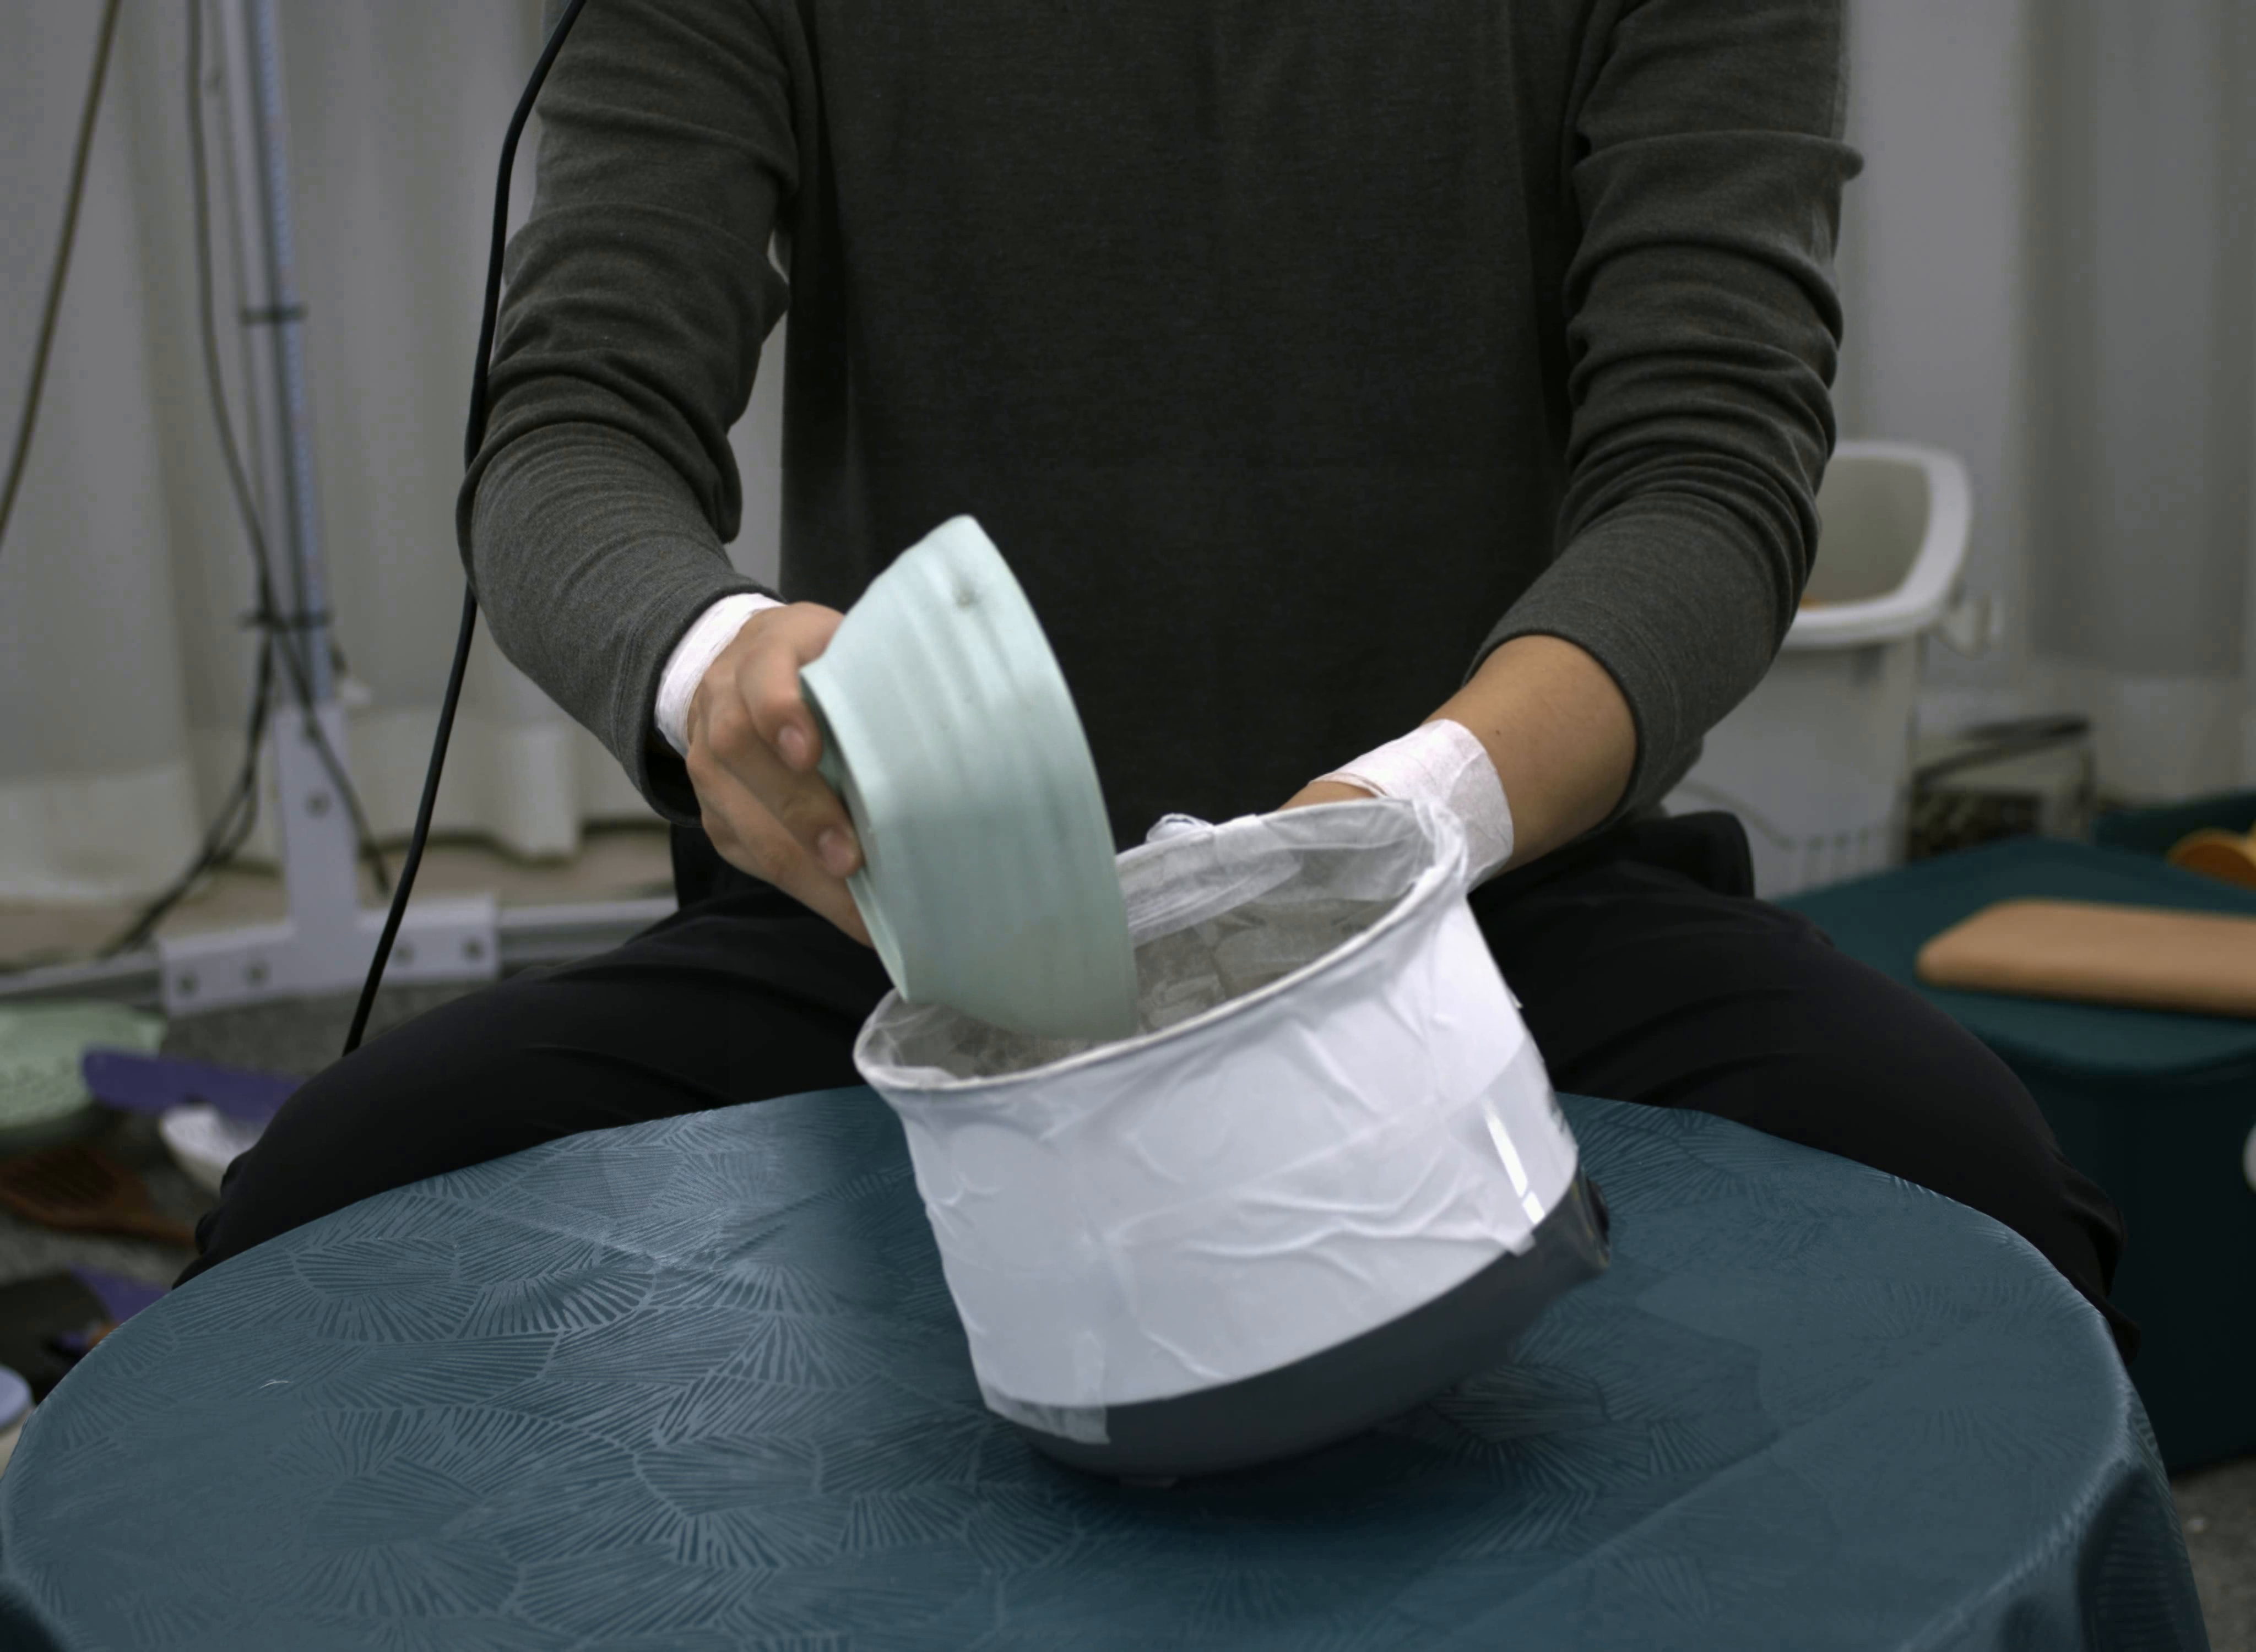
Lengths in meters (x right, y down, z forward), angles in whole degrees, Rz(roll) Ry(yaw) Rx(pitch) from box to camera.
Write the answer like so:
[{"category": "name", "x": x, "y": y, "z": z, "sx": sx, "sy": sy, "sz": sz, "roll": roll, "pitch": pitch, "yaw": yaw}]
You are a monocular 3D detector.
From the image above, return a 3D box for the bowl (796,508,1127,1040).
[{"category": "bowl", "x": -0.050, "y": -0.007, "z": 1.492, "sx": 0.058, "sy": 0.150, "sz": 0.152, "roll": -16, "pitch": 16, "yaw": -9}]

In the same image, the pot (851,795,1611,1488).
[{"category": "pot", "x": 0.030, "y": 0.079, "z": 1.521, "sx": 0.178, "sy": 0.136, "sz": 0.235, "roll": -18, "pitch": 14, "yaw": 7}]
